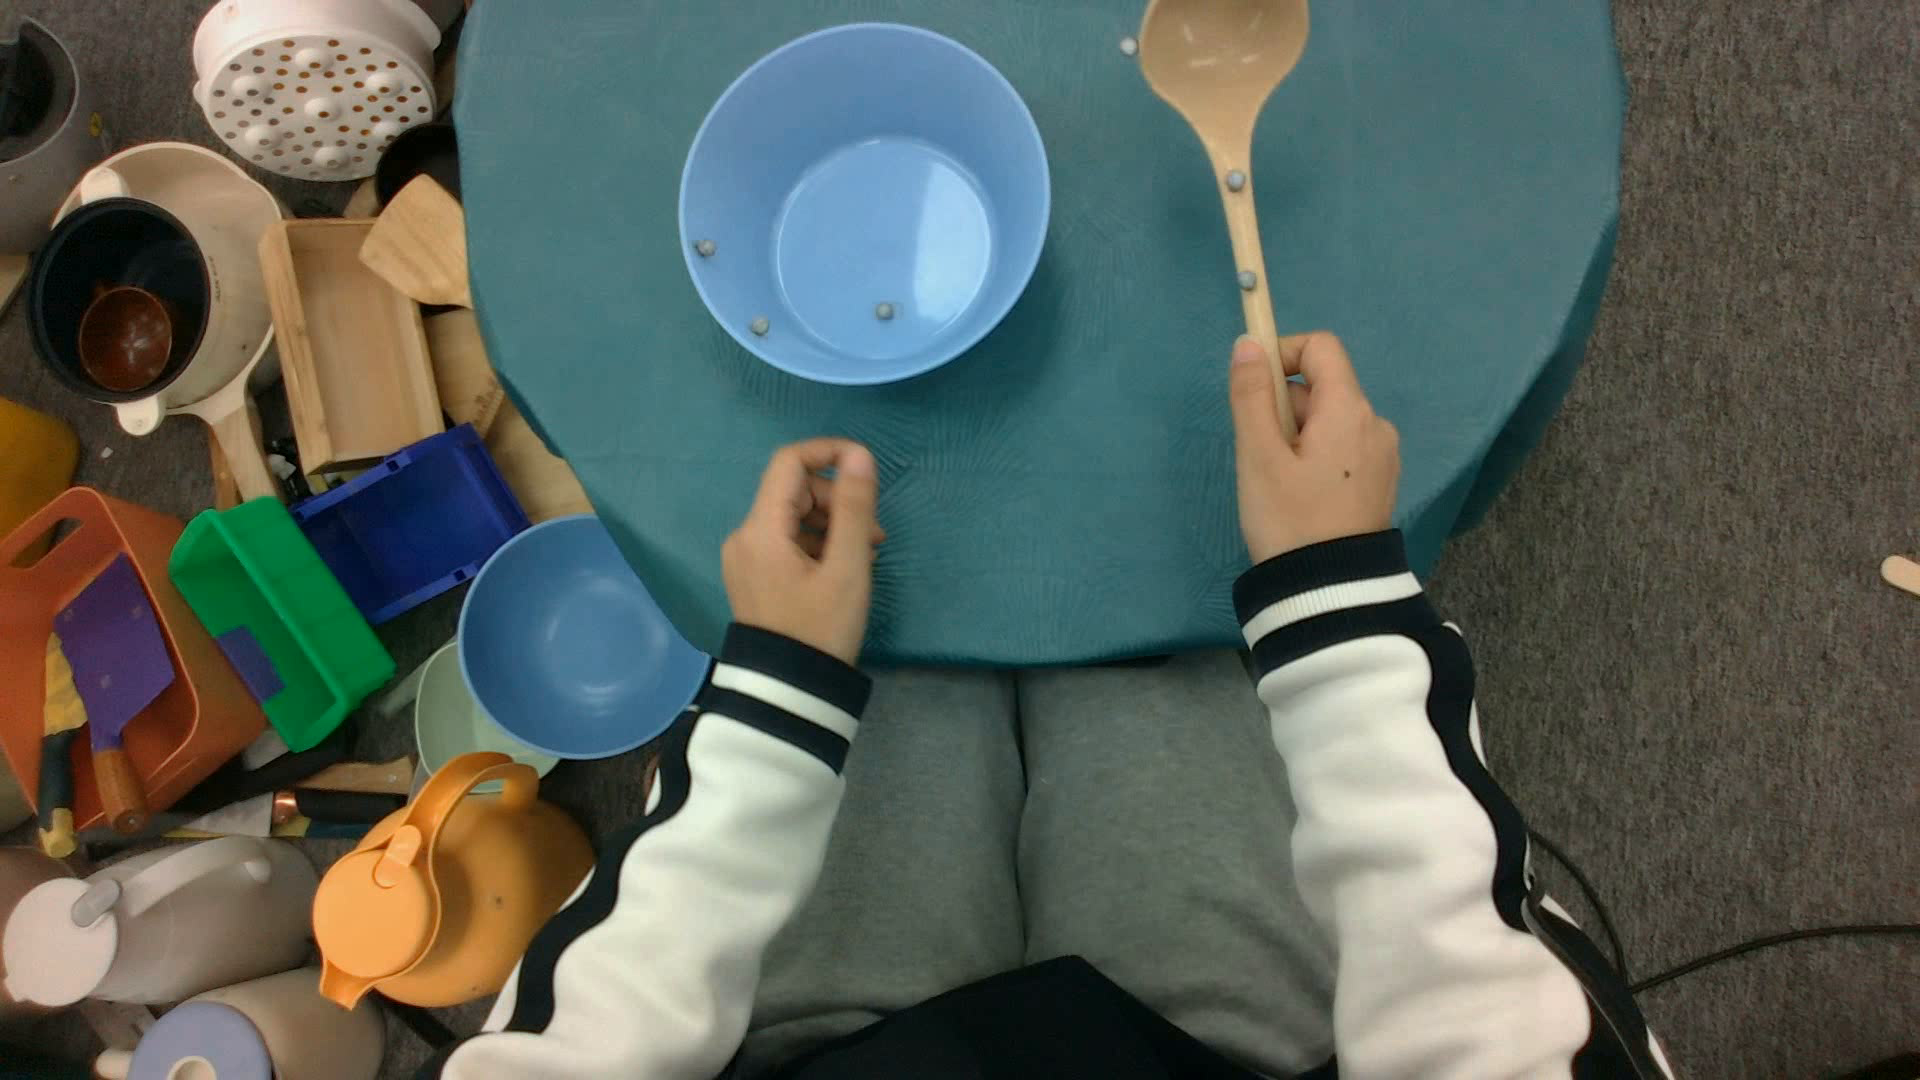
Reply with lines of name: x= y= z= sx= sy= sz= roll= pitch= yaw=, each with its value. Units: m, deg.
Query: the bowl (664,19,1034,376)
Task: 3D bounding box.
bowl: x=-0.049 y=-0.157 z=0.674 sx=0.176 sy=0.070 sz=0.176 roll=-1 pitch=80 yaw=6

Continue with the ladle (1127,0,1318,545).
ladle: x=0.124 y=-0.128 z=0.586 sx=0.072 sy=0.072 sz=0.255 roll=-9 pitch=77 yaw=3
